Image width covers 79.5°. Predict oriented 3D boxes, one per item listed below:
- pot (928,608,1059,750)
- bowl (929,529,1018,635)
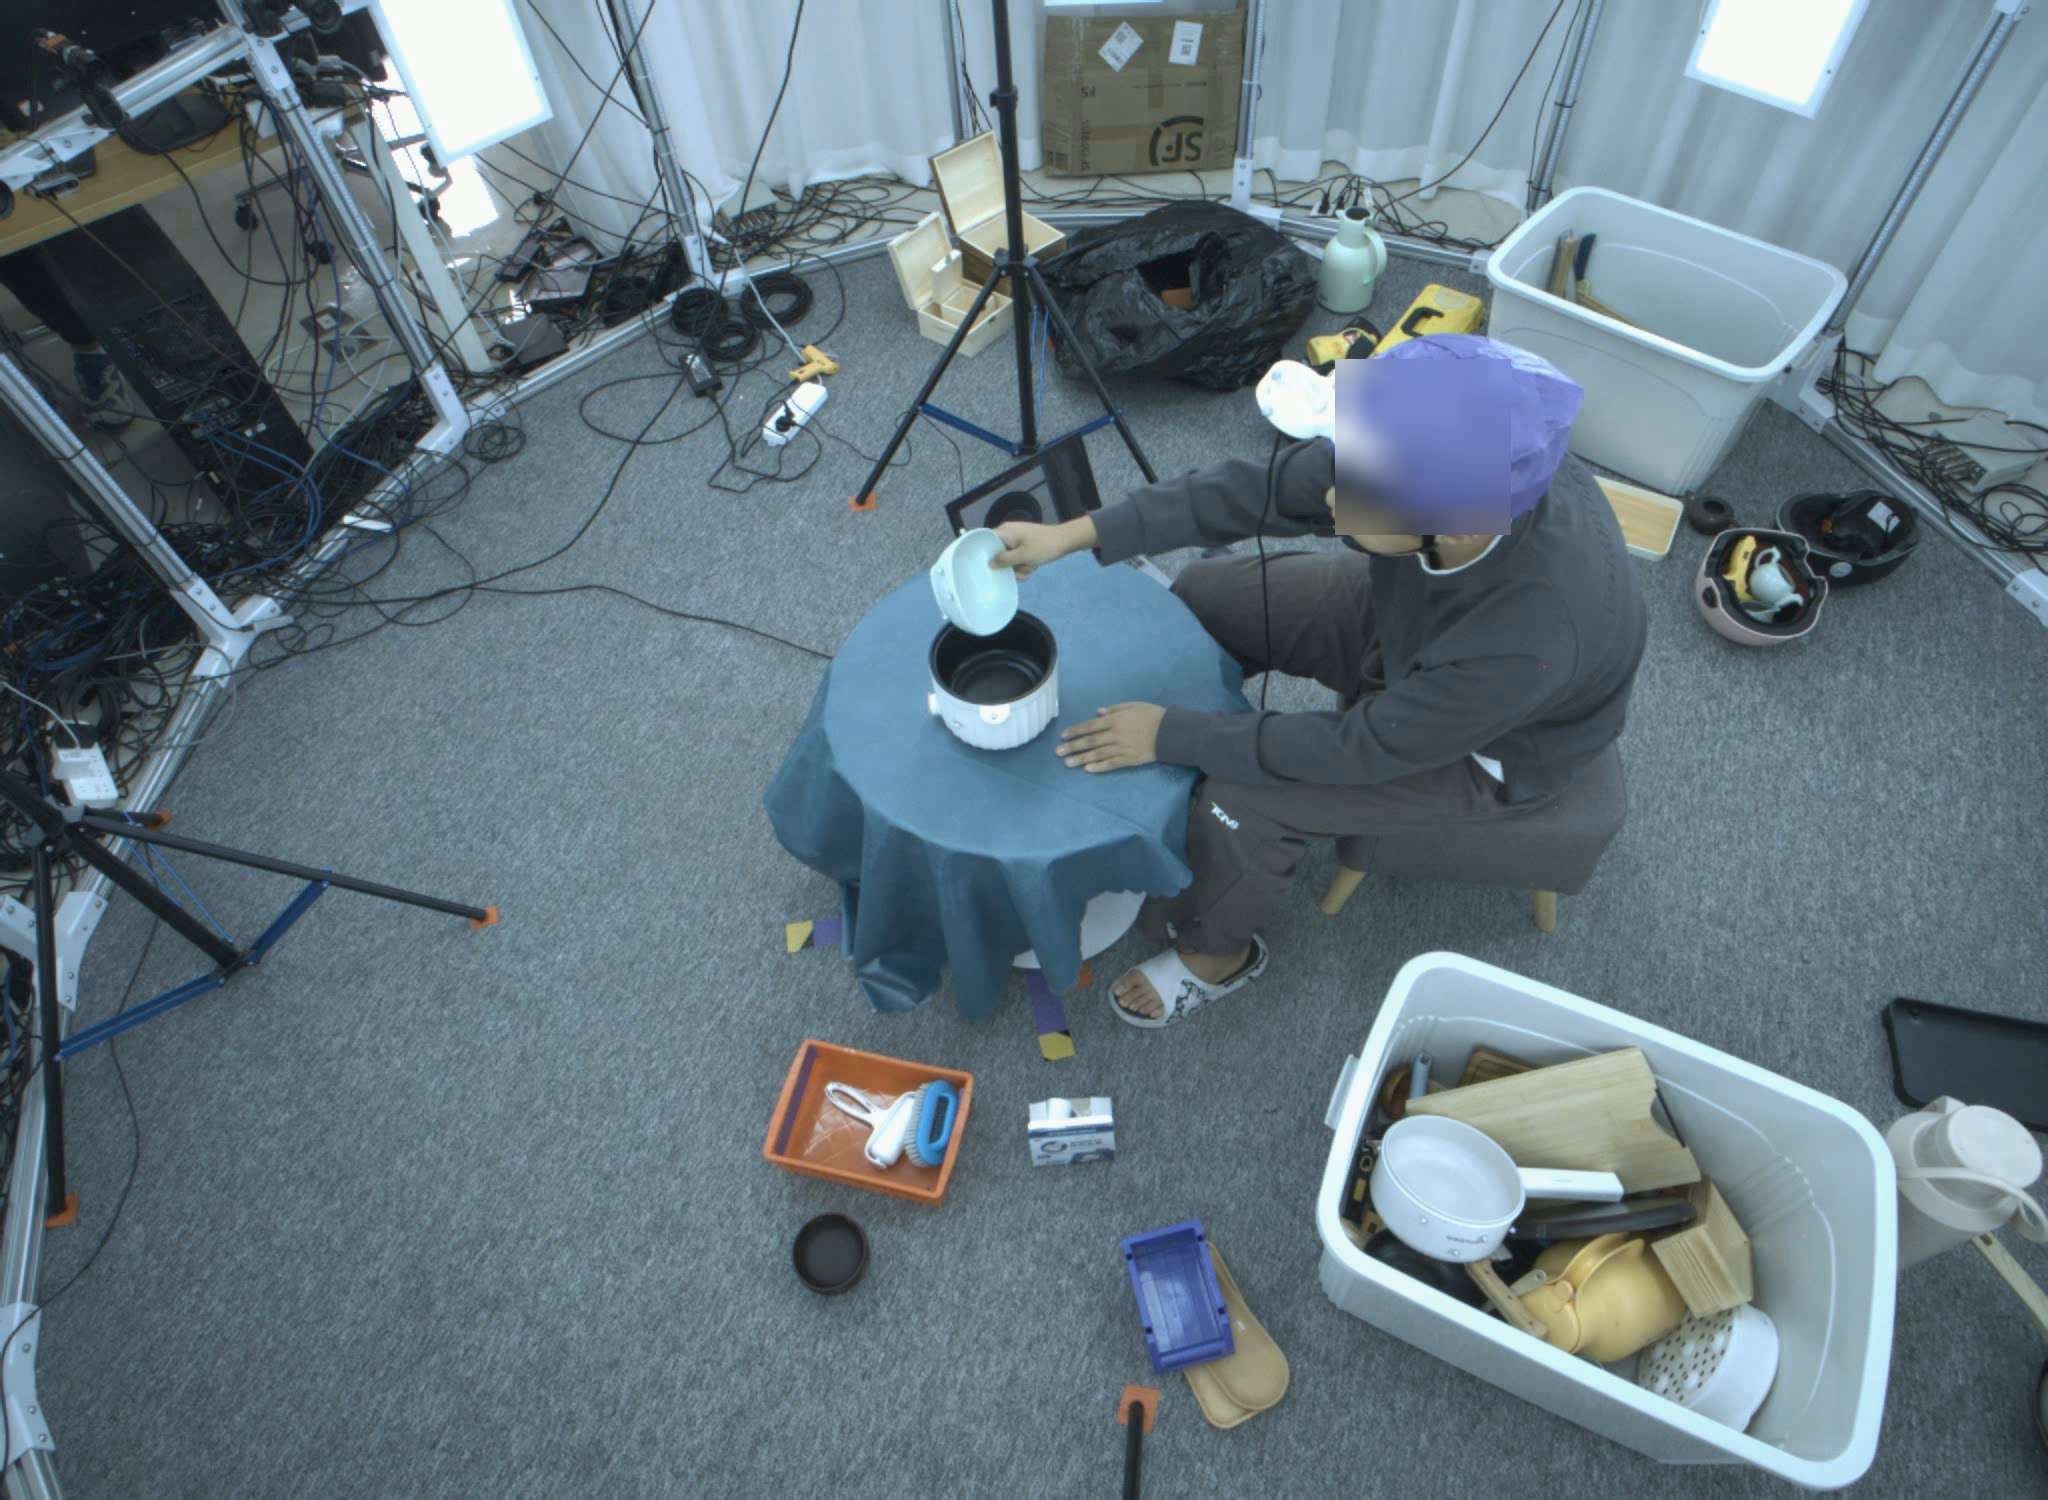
[{"bbox_3d":[-0.045,-0.095,1.769,0.191,0.144,0.237,-3,53,-4],"label":"pot"},{"bbox_3d":[-0.076,-0.224,1.657,0.057,0.154,0.151,-5,49,36],"label":"bowl"}]
